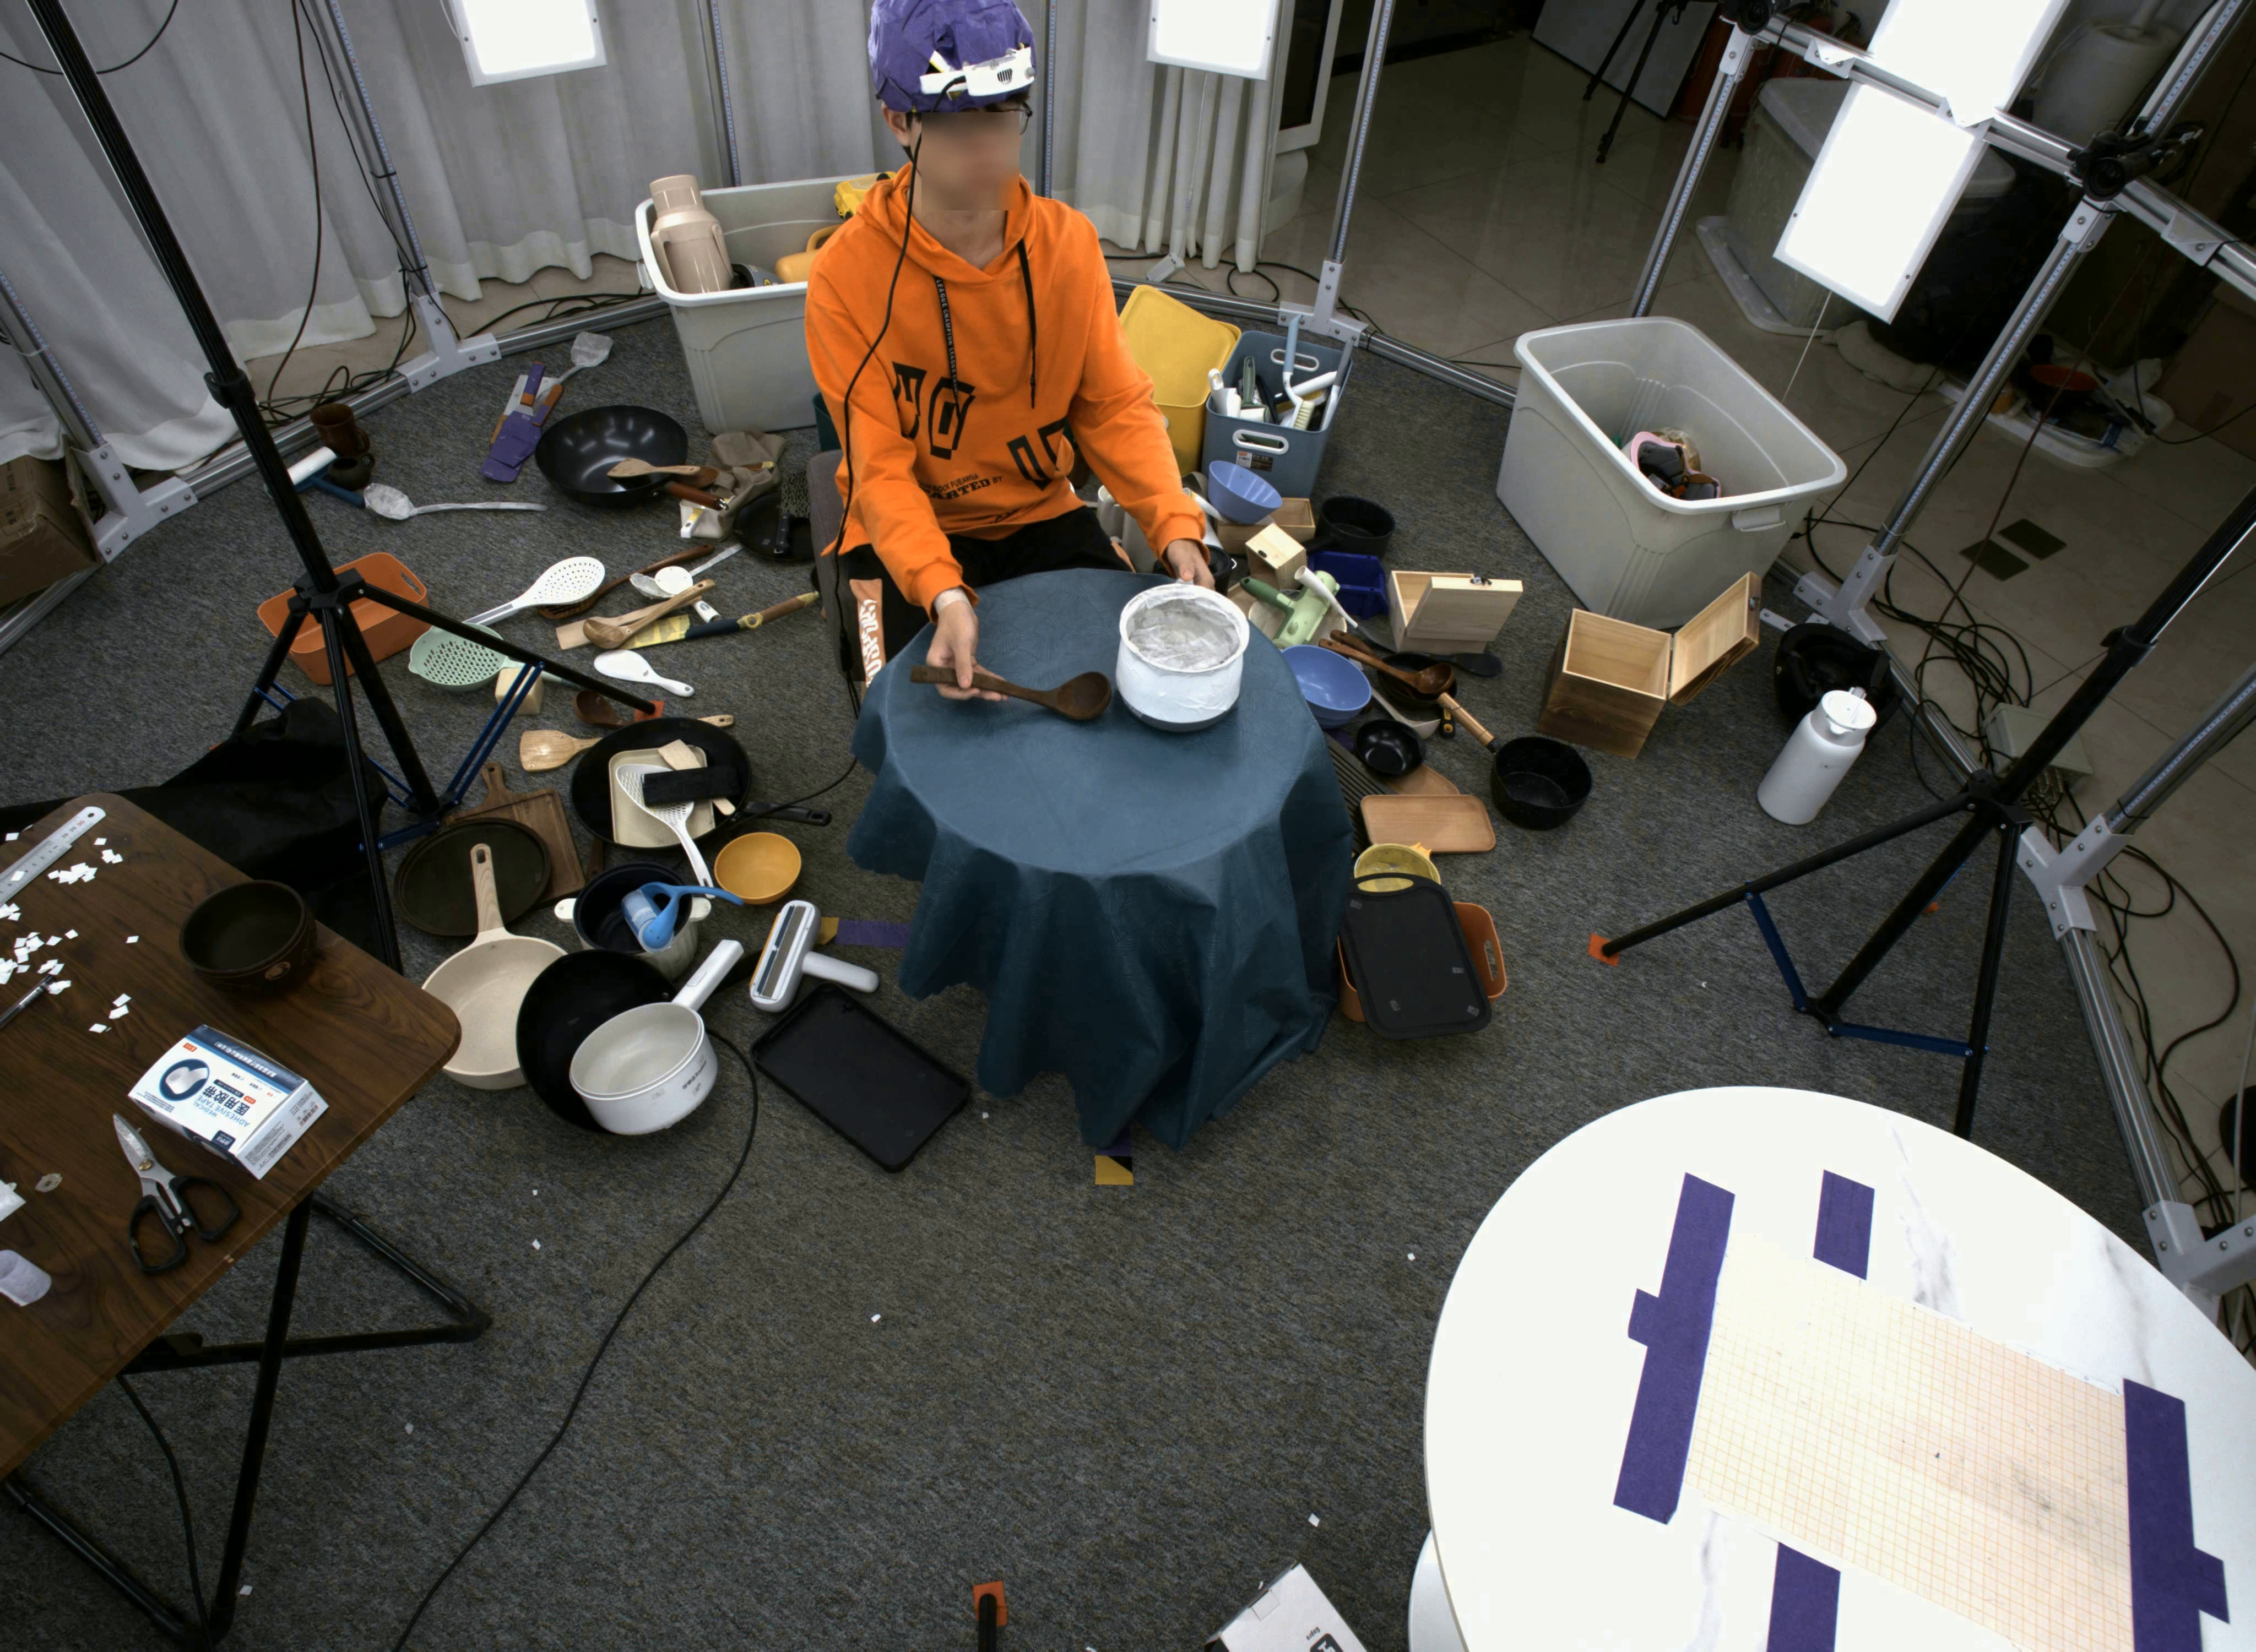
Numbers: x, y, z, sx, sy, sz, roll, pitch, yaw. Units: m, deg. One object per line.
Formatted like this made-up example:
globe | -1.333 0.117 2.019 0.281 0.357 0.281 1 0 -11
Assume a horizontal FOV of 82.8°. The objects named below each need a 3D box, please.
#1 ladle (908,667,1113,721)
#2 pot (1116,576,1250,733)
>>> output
ladle | -0.156 -0.197 1.752 0.272 0.070 0.078 10 52 -20
pot | 0.073 -0.250 1.802 0.178 0.133 0.239 3 49 -2
